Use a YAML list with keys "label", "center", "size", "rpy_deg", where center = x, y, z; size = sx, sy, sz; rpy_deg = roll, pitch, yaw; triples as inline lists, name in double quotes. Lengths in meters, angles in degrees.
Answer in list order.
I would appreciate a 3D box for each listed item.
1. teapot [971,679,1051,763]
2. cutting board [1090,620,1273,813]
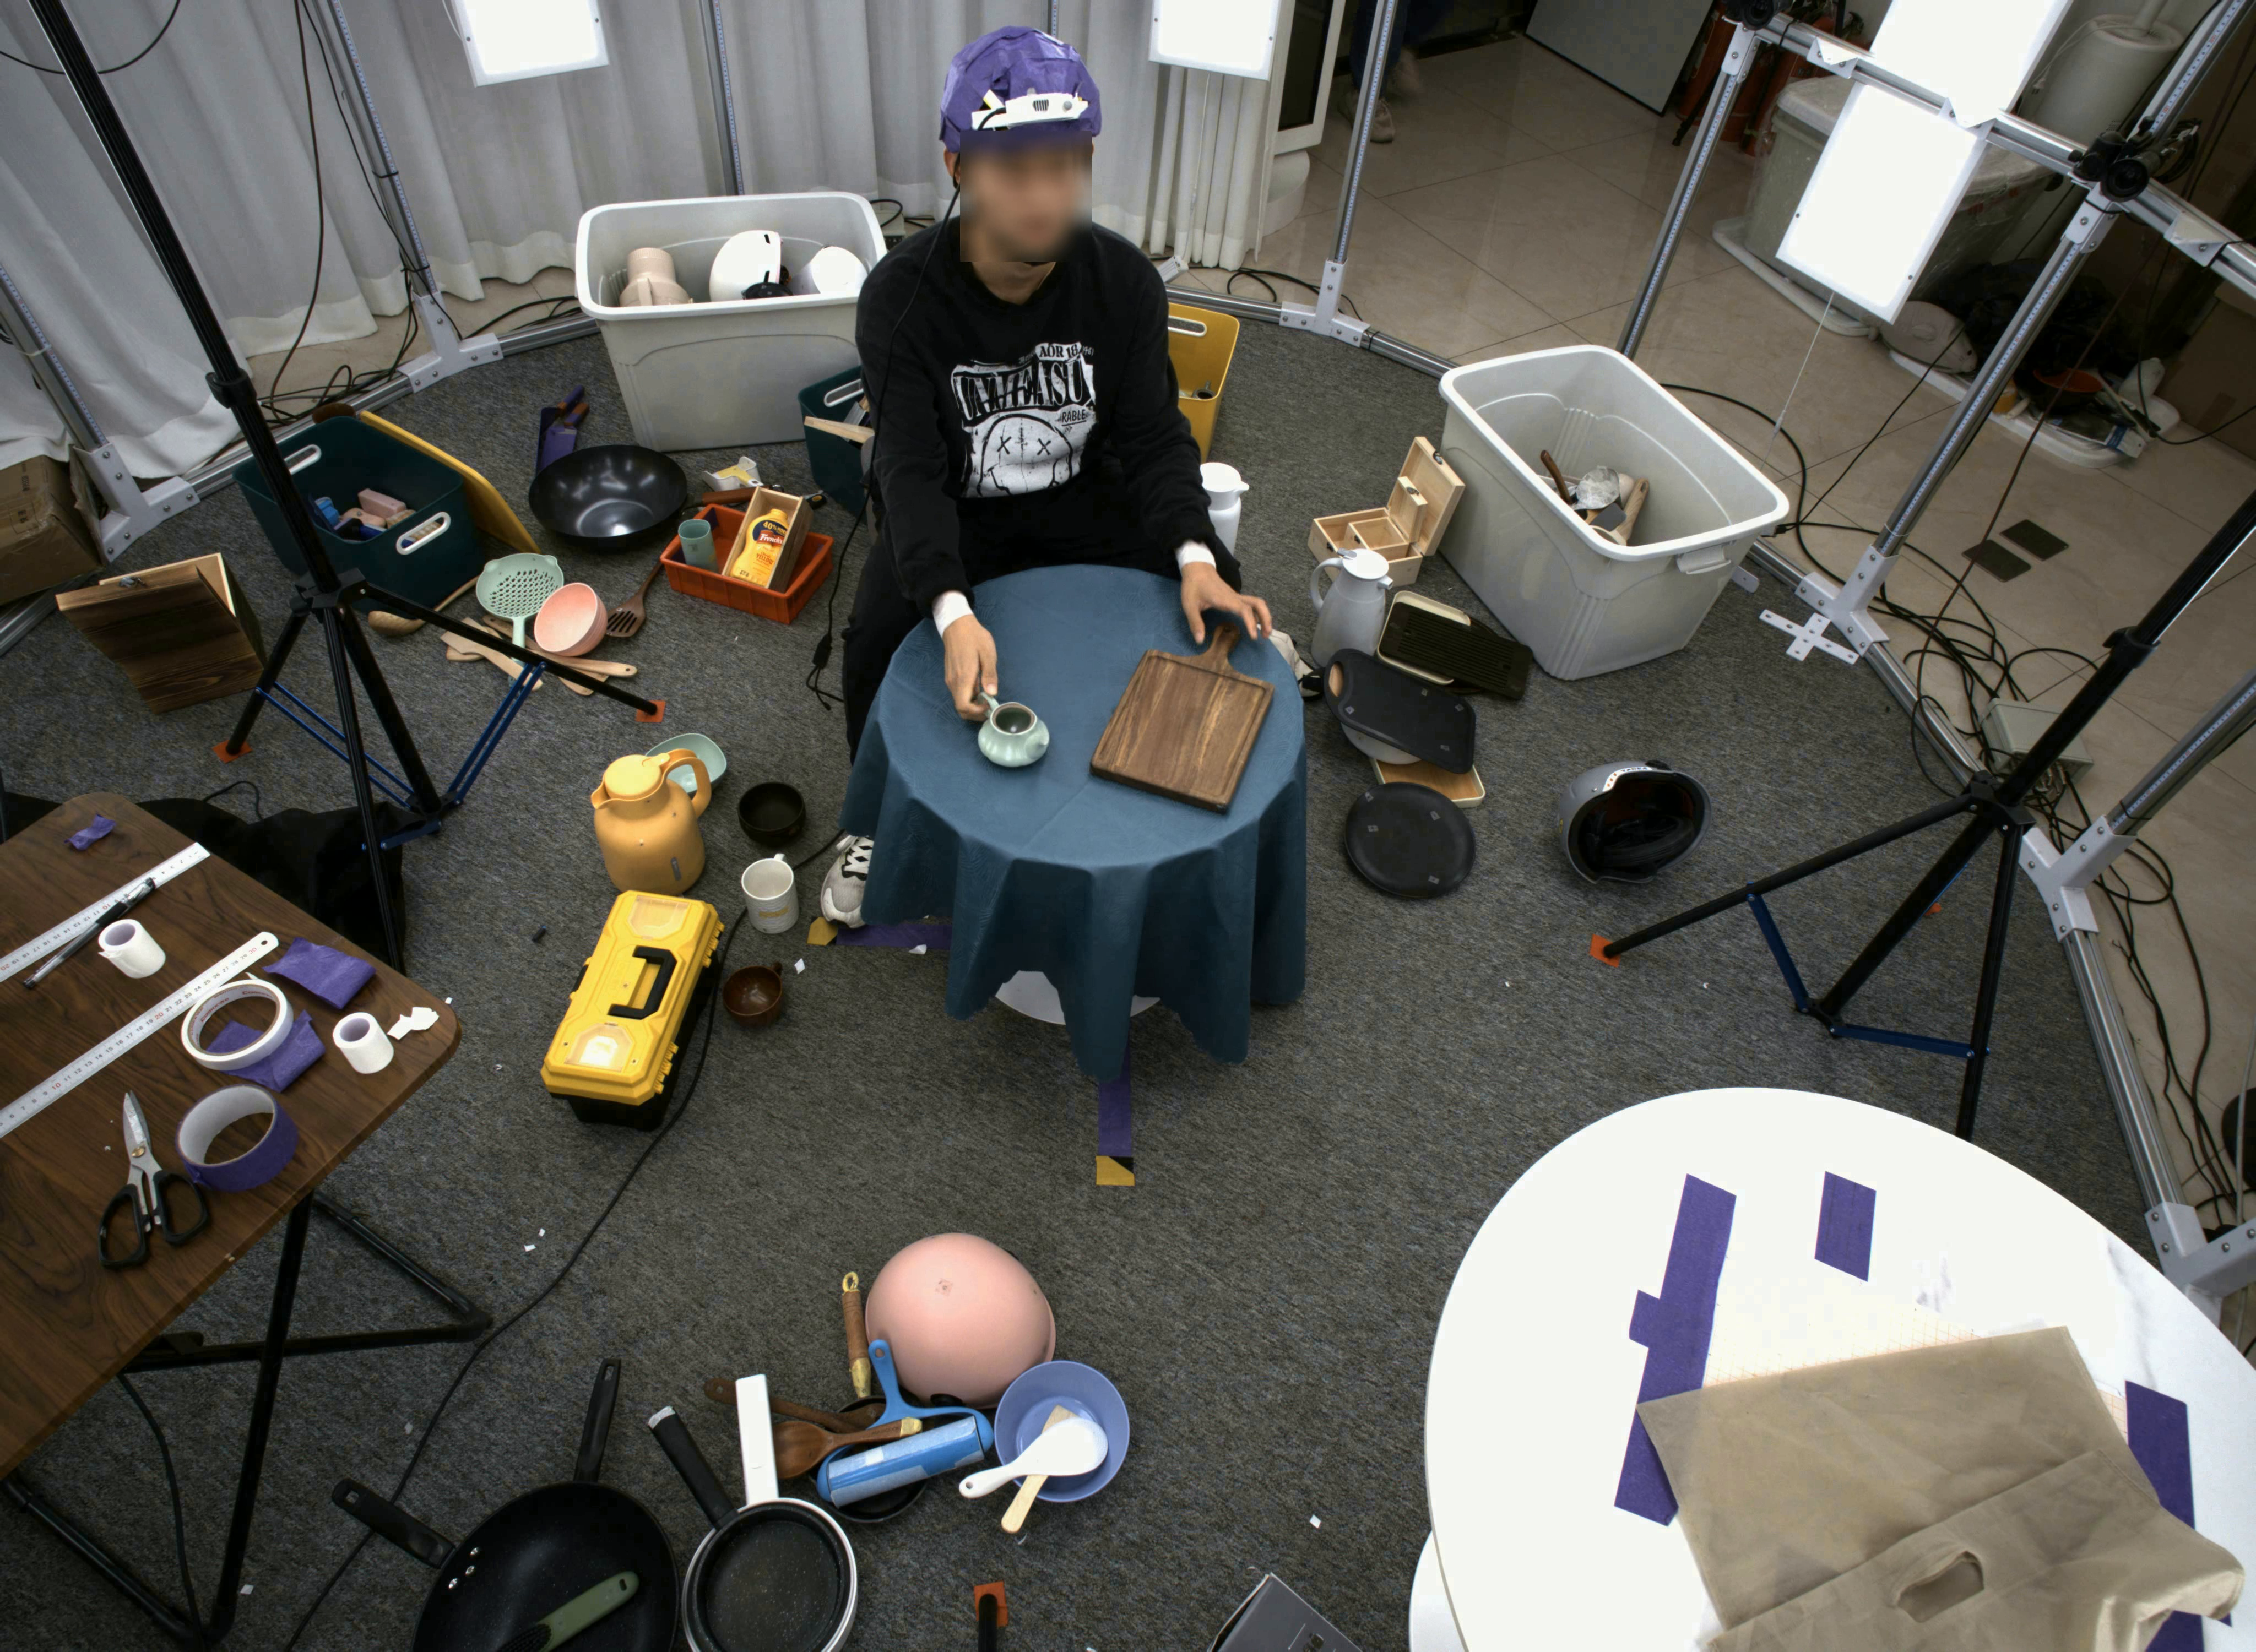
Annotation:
- label: "teapot"
  center: [-0.162, -0.135, 1.718]
  size: [0.138, 0.060, 0.096]
  rpy_deg: [49, 36, 15]
- label: "cutting board"
  center: [0.094, -0.174, 1.811]
  size: [0.202, 0.022, 0.359]
  rpy_deg: [16, 50, 10]
